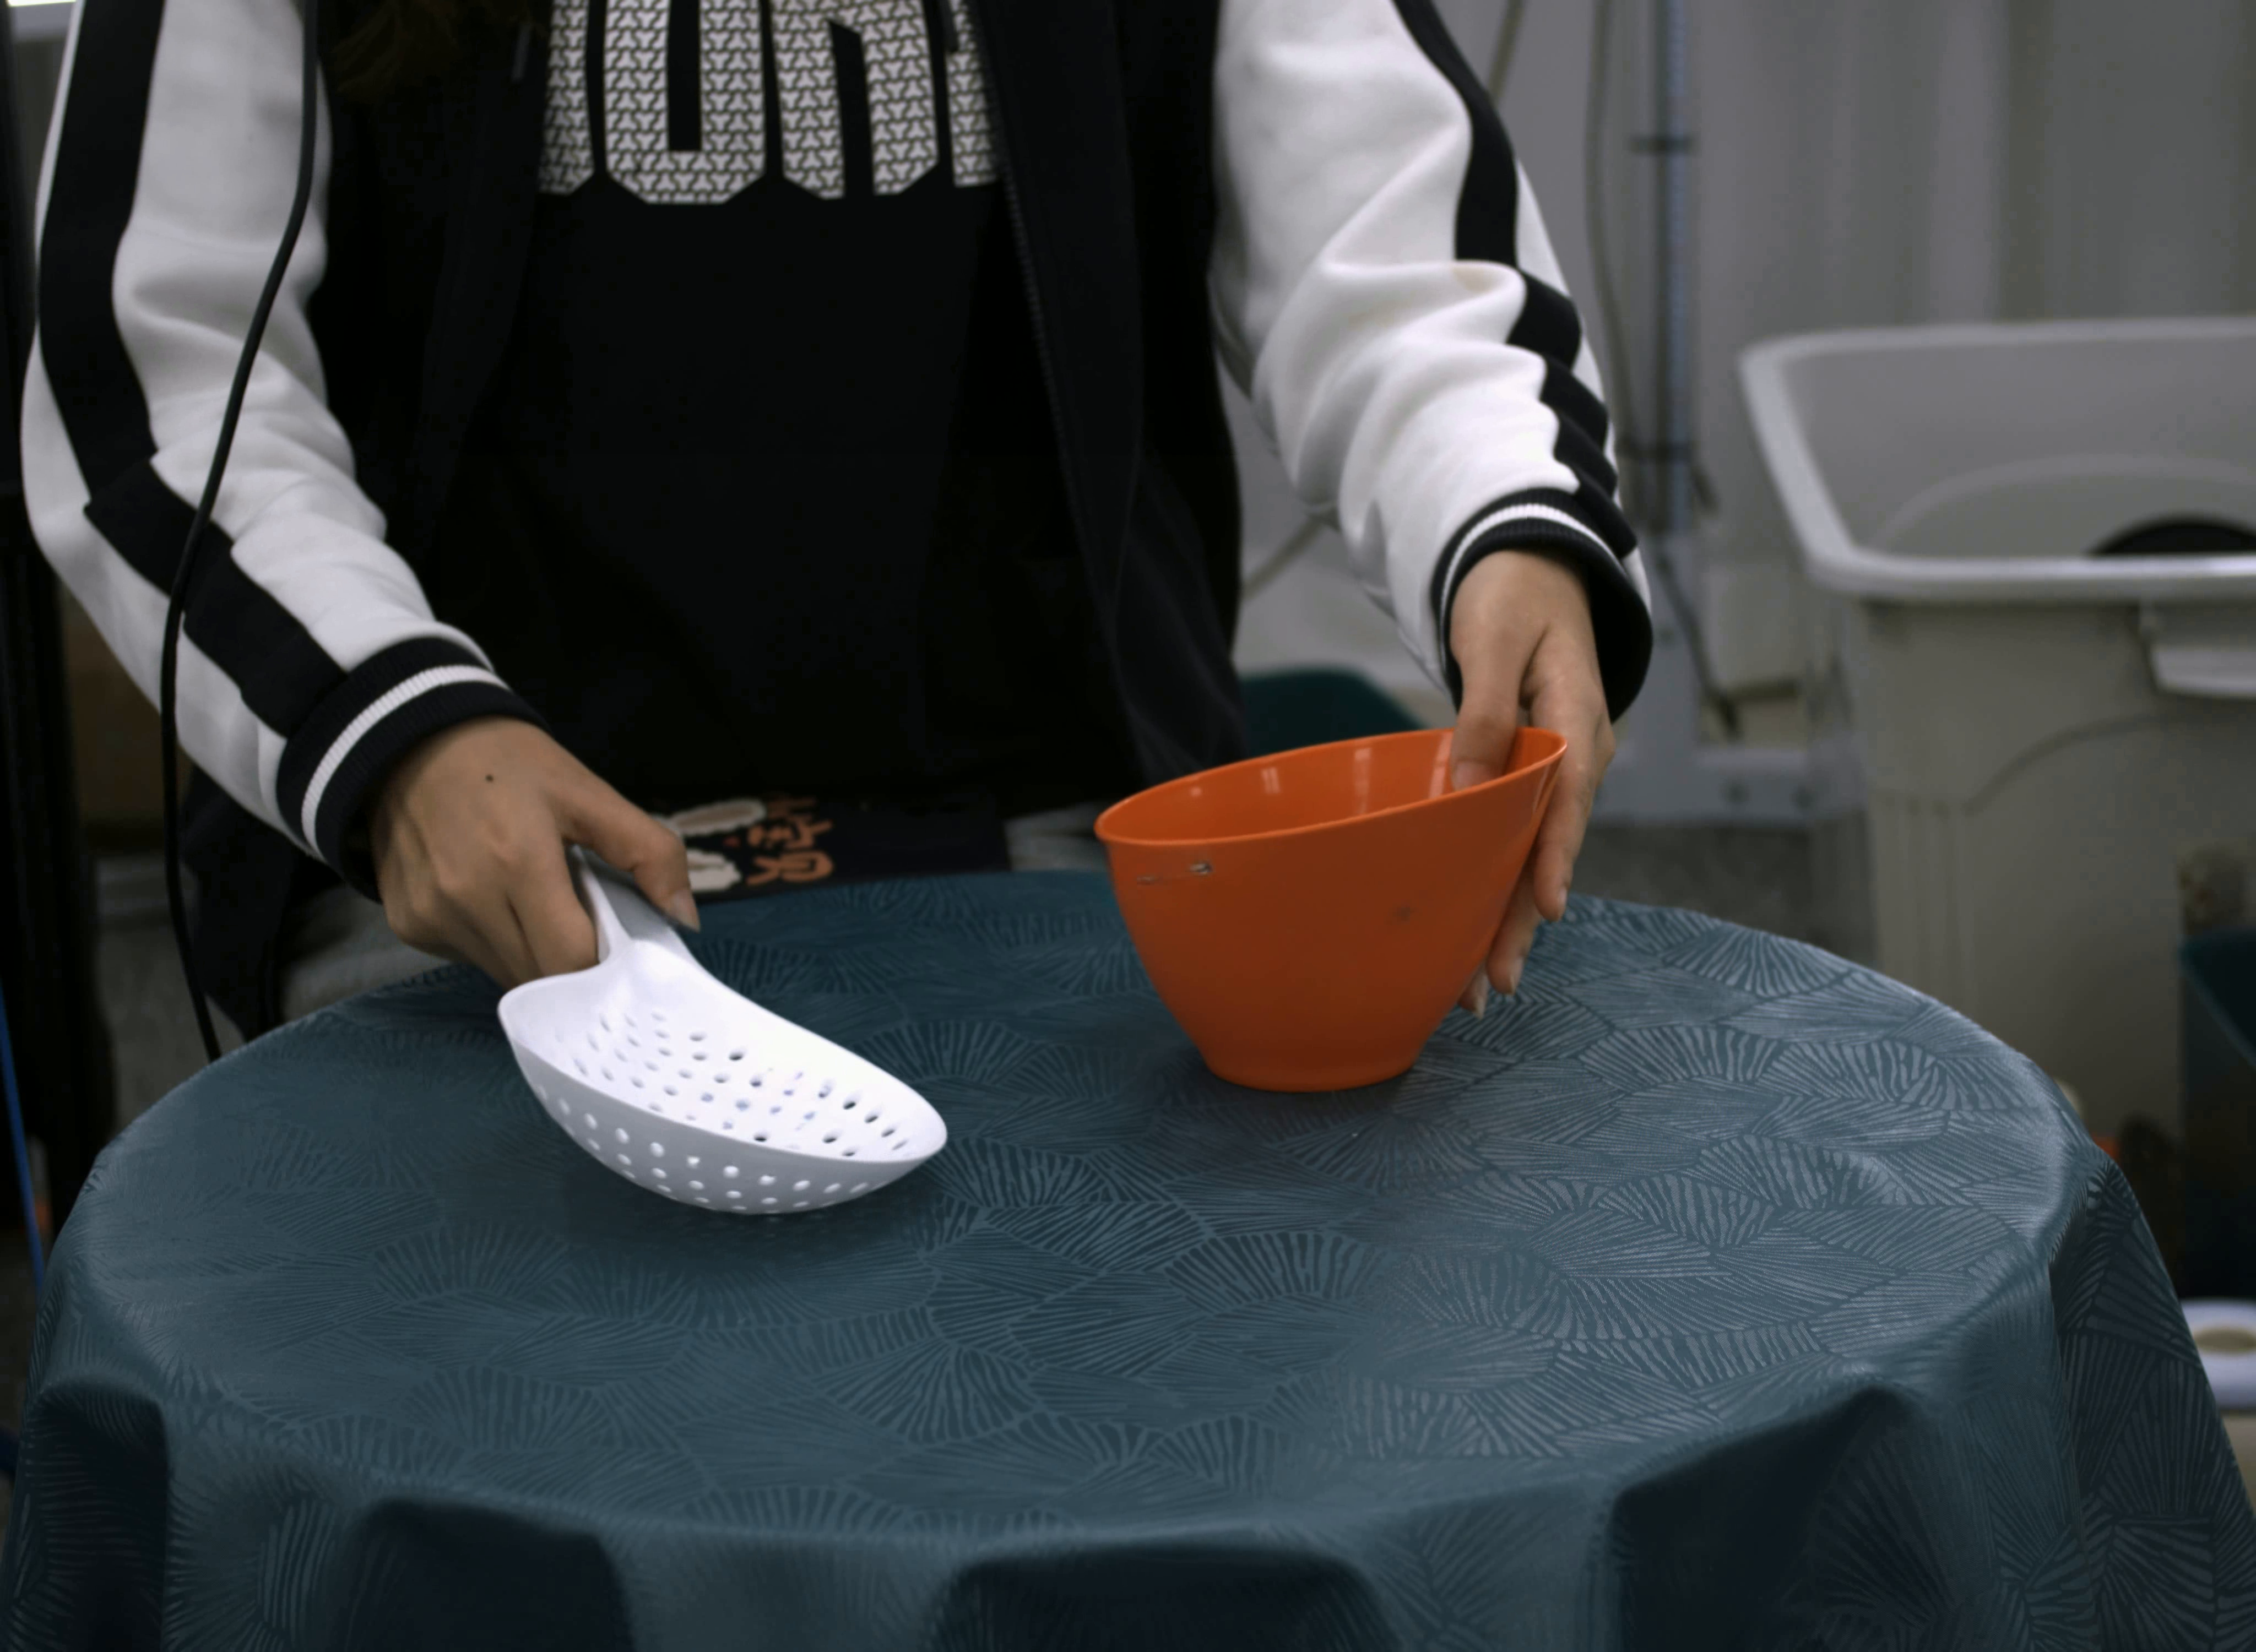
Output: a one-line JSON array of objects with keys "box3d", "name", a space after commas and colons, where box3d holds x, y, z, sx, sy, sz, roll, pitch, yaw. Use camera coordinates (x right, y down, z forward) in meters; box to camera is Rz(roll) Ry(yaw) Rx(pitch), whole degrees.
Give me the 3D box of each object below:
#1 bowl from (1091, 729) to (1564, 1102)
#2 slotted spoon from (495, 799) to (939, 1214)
[{"box3d": [0.064, 0.028, 1.647, 0.147, 0.104, 0.149, -5, 16, 0], "name": "bowl"}, {"box3d": [-0.147, 0.047, 1.659, 0.133, 0.046, 0.354, 14, 17, -17], "name": "slotted spoon"}]
